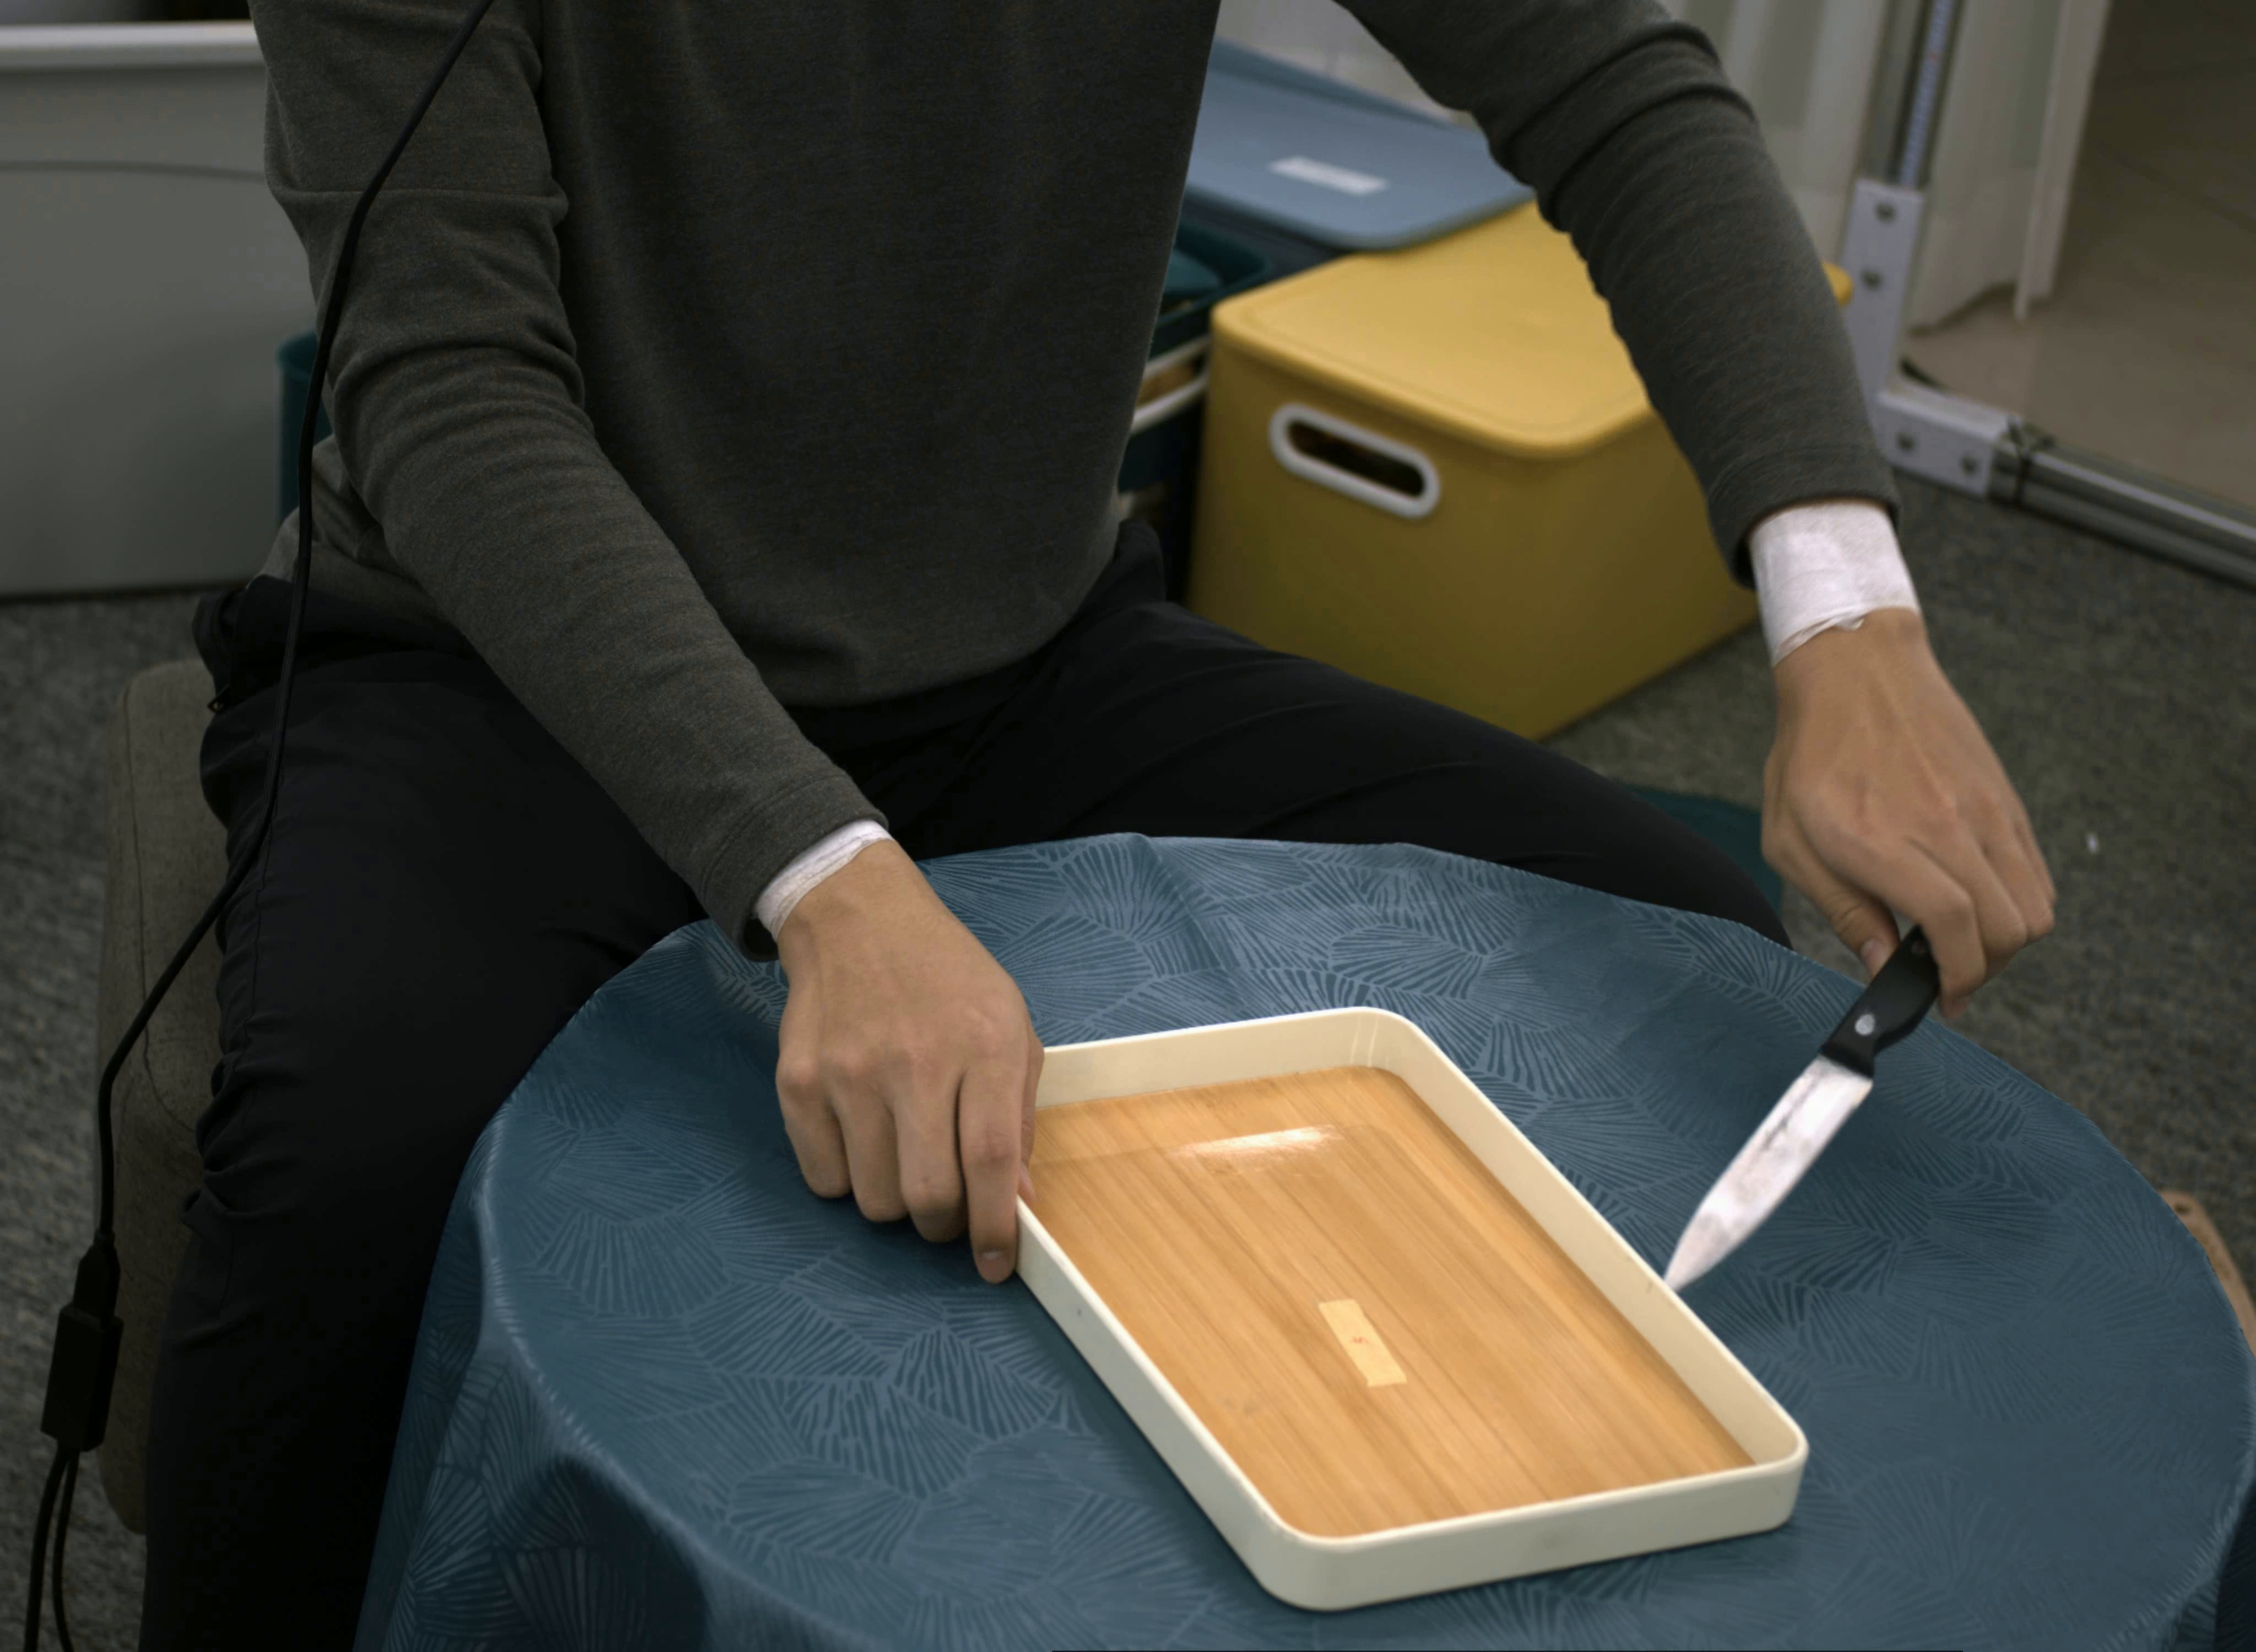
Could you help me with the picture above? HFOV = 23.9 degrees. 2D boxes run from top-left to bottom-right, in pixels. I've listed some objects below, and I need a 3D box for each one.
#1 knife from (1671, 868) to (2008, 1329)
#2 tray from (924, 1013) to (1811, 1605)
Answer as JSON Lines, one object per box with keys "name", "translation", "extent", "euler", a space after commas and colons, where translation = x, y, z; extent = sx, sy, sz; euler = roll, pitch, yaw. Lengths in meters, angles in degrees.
{"name": "knife", "translation": [0.240, 0.090, 1.811], "extent": [0.024, 0.016, 0.238], "euler": [27, 52, 19]}
{"name": "tray", "translation": [0.072, 0.151, 1.739], "extent": [0.190, 0.027, 0.303], "euler": [-5, 29, -24]}
